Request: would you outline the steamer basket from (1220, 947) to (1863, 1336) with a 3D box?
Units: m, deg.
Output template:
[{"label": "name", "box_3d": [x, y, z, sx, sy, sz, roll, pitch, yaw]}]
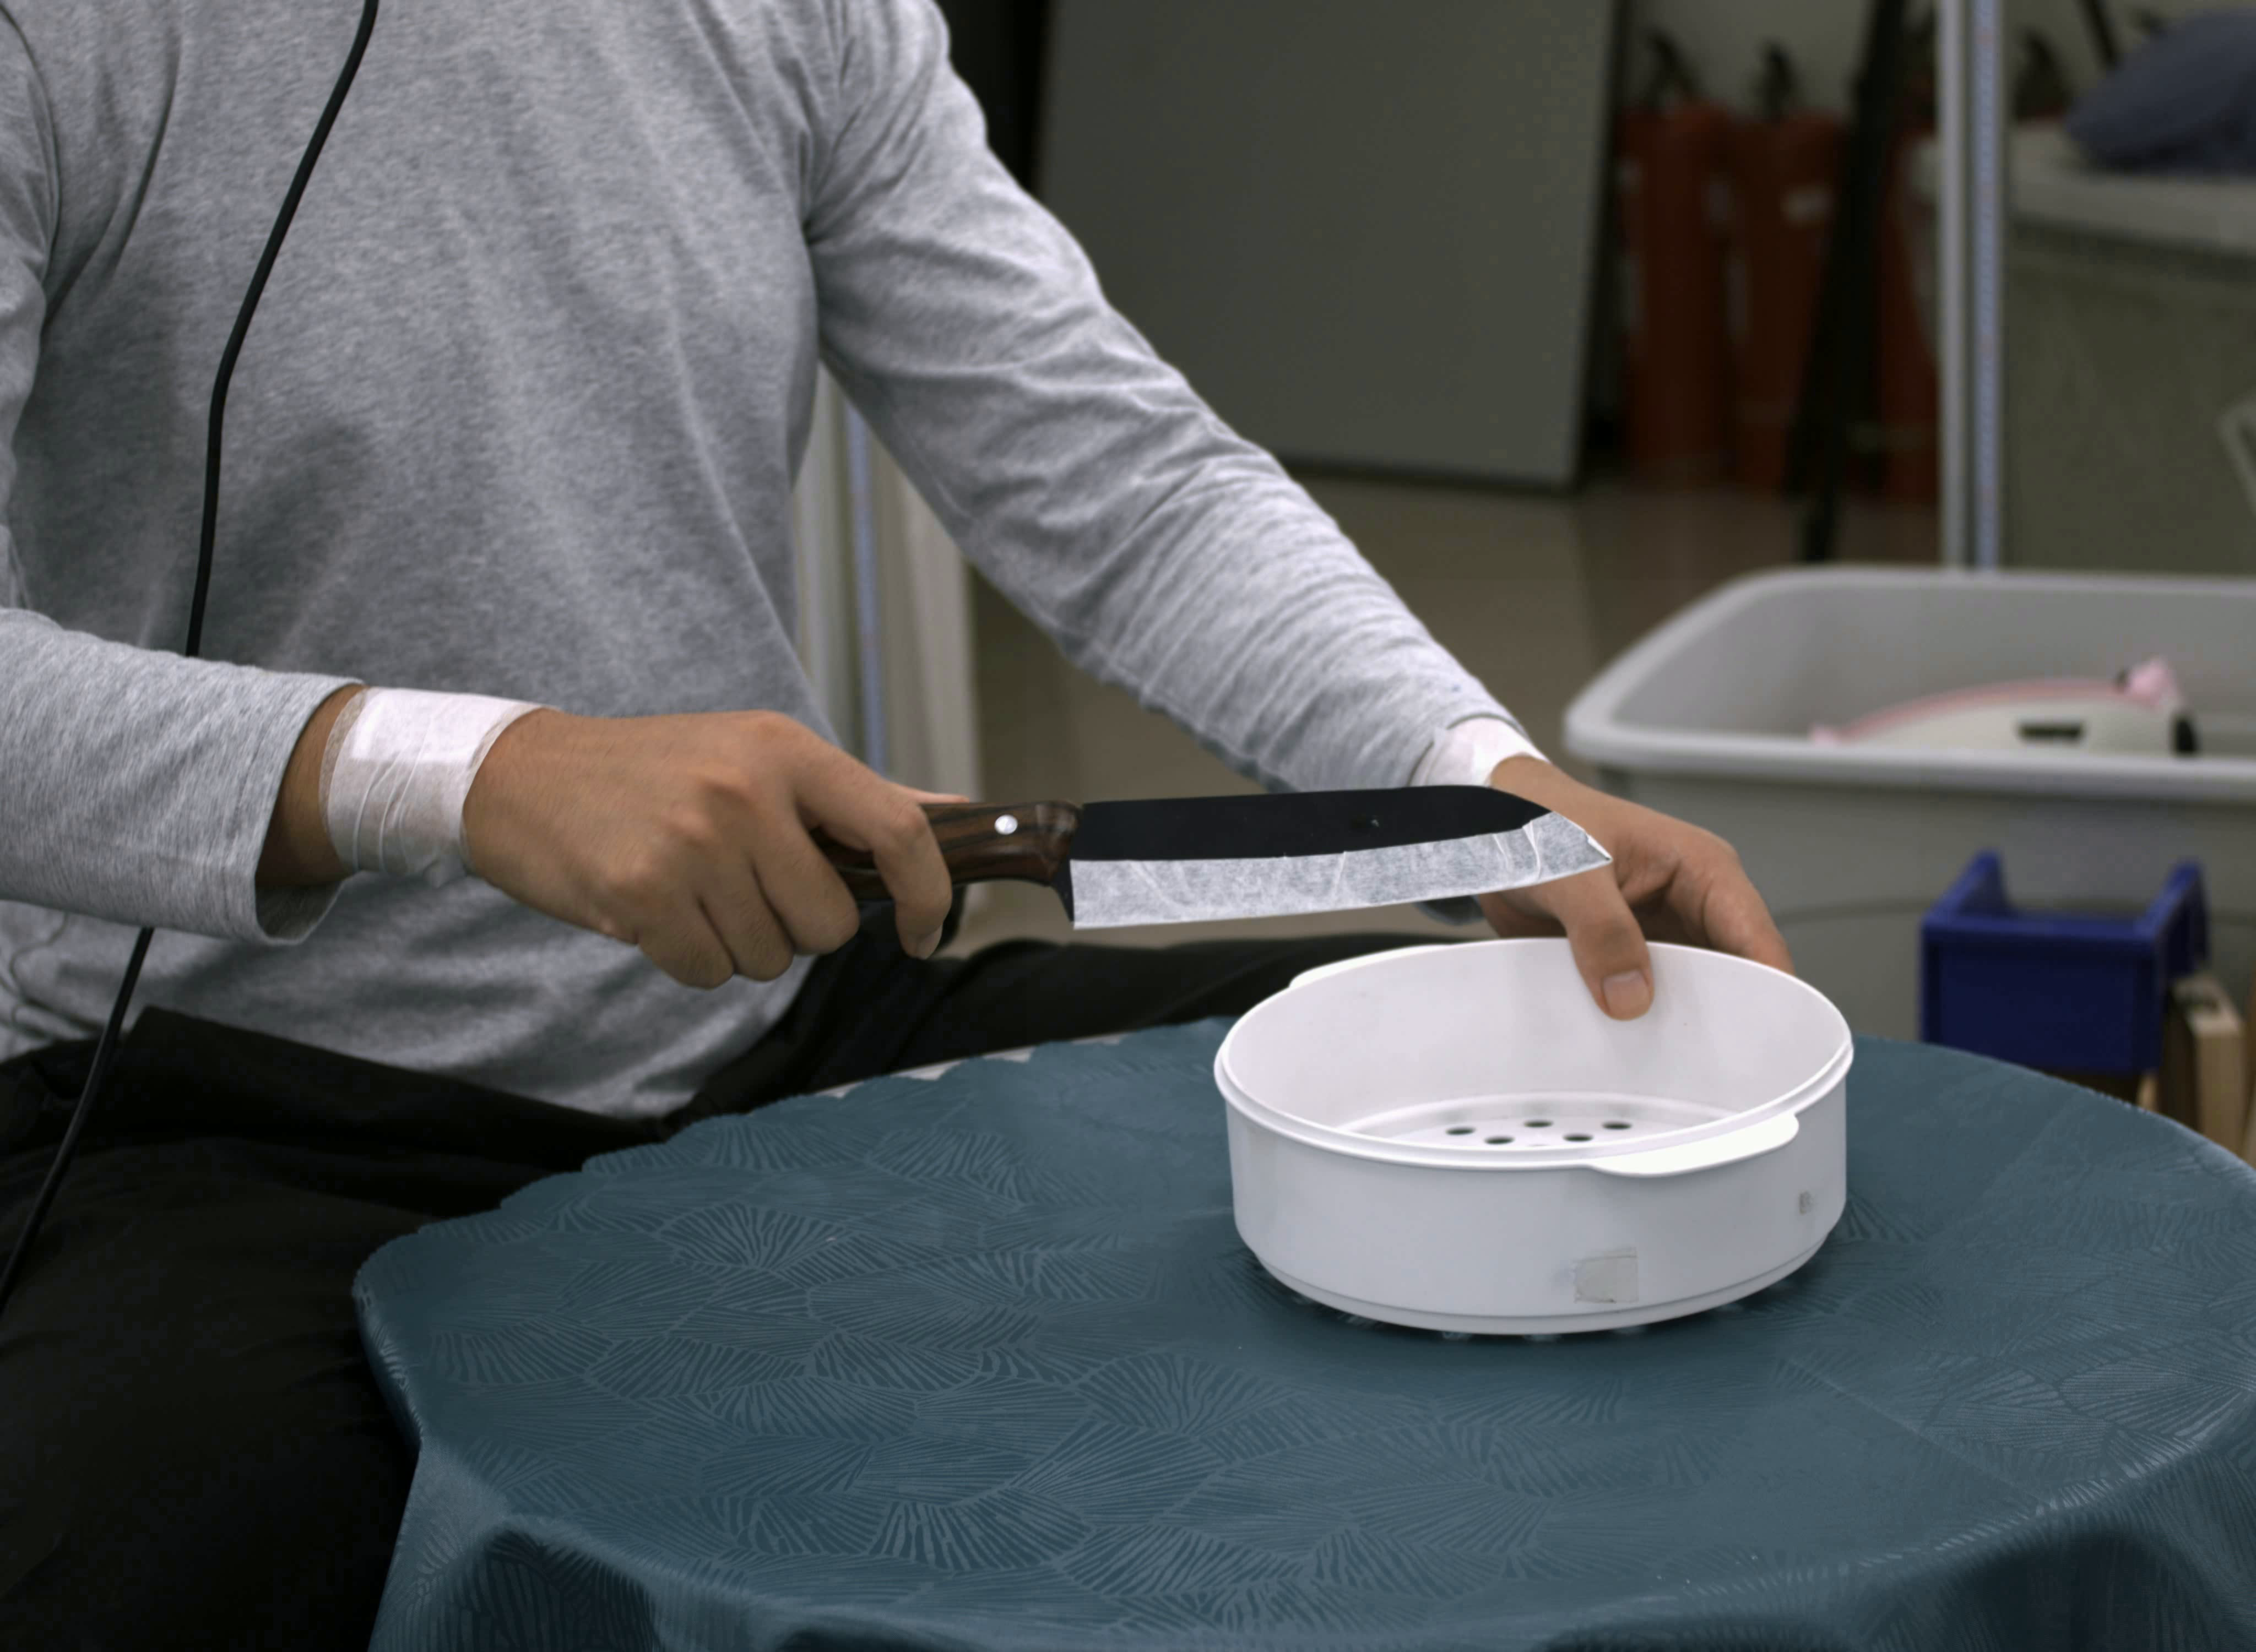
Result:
[{"label": "steamer basket", "box_3d": [0.130, 0.098, 1.677, 0.197, 0.070, 0.233, -11, 17, -23]}]

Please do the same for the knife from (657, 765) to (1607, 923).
[{"label": "knife", "box_3d": [0.002, 0.007, 1.616, 0.285, 0.051, 0.020, -2, -30, -2]}]
